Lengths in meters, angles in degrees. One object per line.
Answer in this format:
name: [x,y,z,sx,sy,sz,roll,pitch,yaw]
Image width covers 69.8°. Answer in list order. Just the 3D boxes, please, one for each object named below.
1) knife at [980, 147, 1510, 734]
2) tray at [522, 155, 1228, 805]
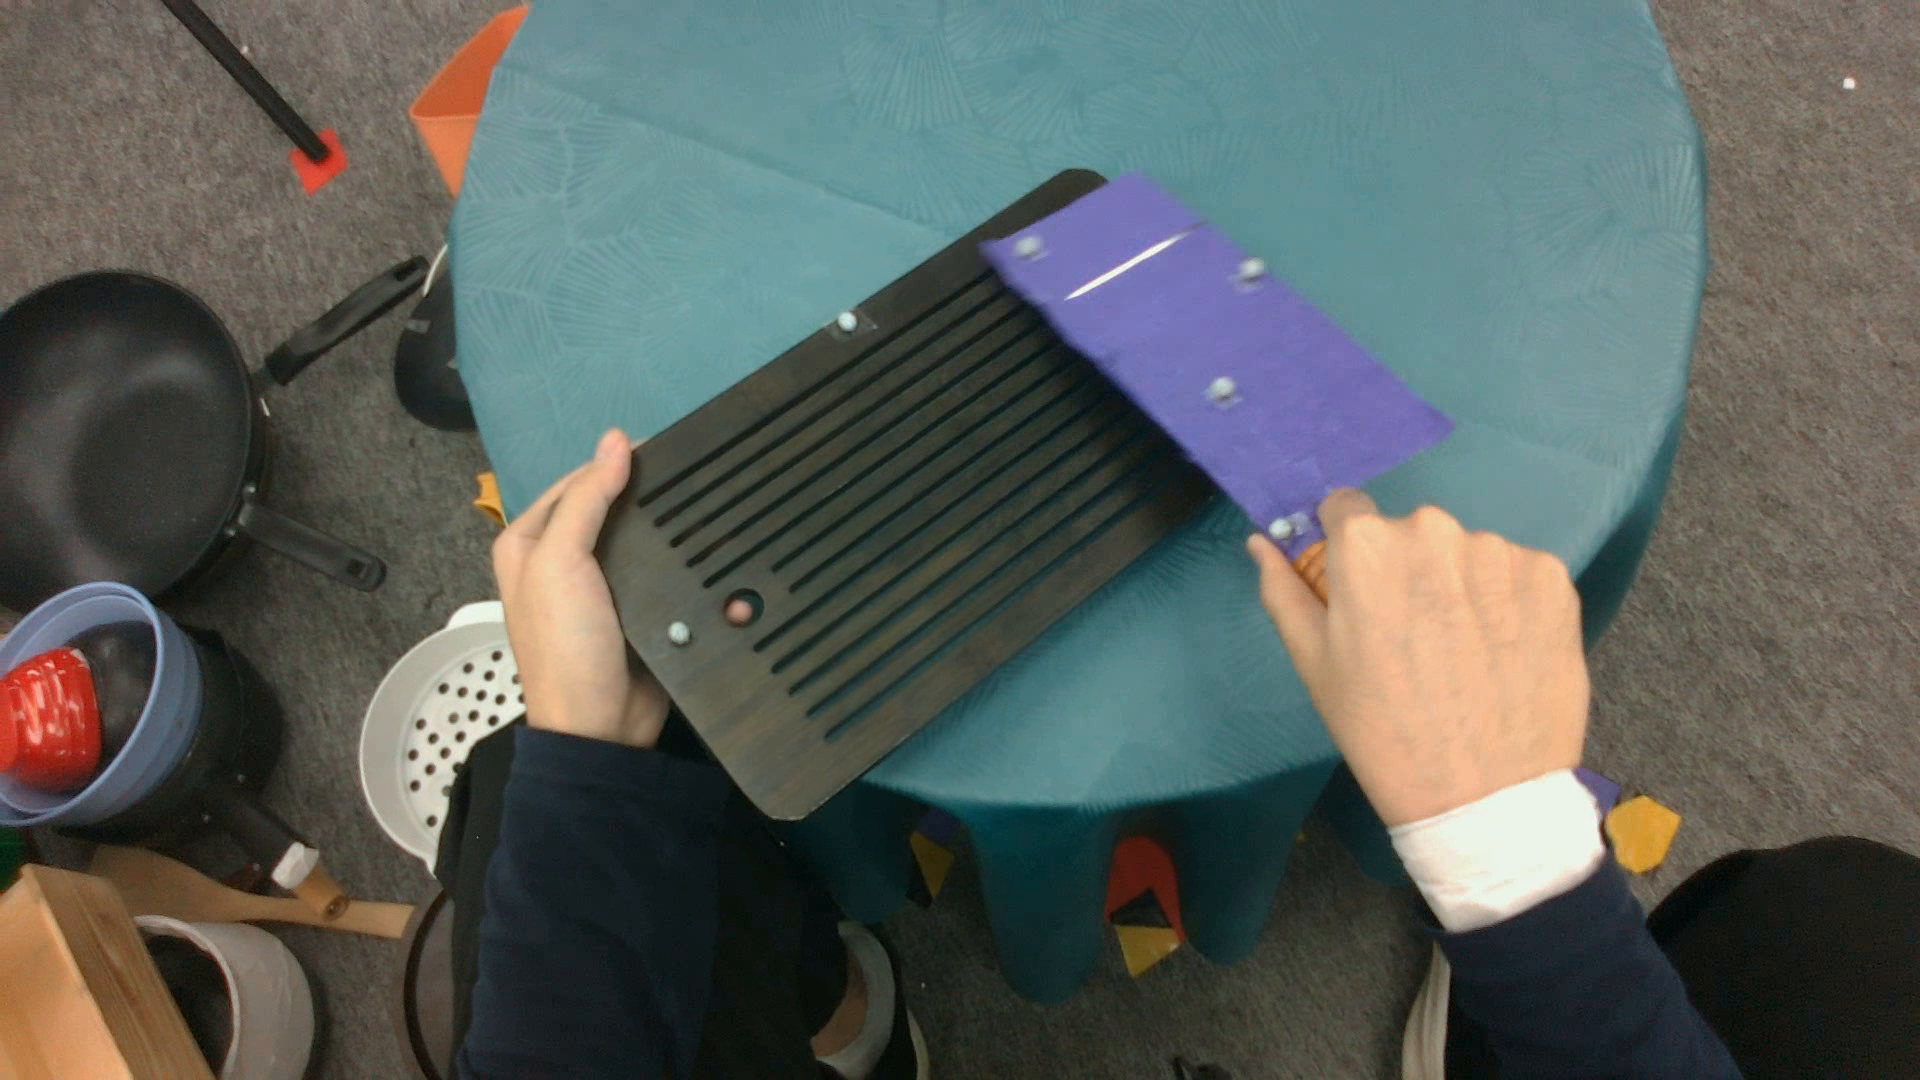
knife: [0.125,-0.065,0.550,0.104,0.032,0.316,-29,56,-9]
tray: [-0.016,-0.040,0.593,0.307,0.018,0.170,-37,72,-19]
